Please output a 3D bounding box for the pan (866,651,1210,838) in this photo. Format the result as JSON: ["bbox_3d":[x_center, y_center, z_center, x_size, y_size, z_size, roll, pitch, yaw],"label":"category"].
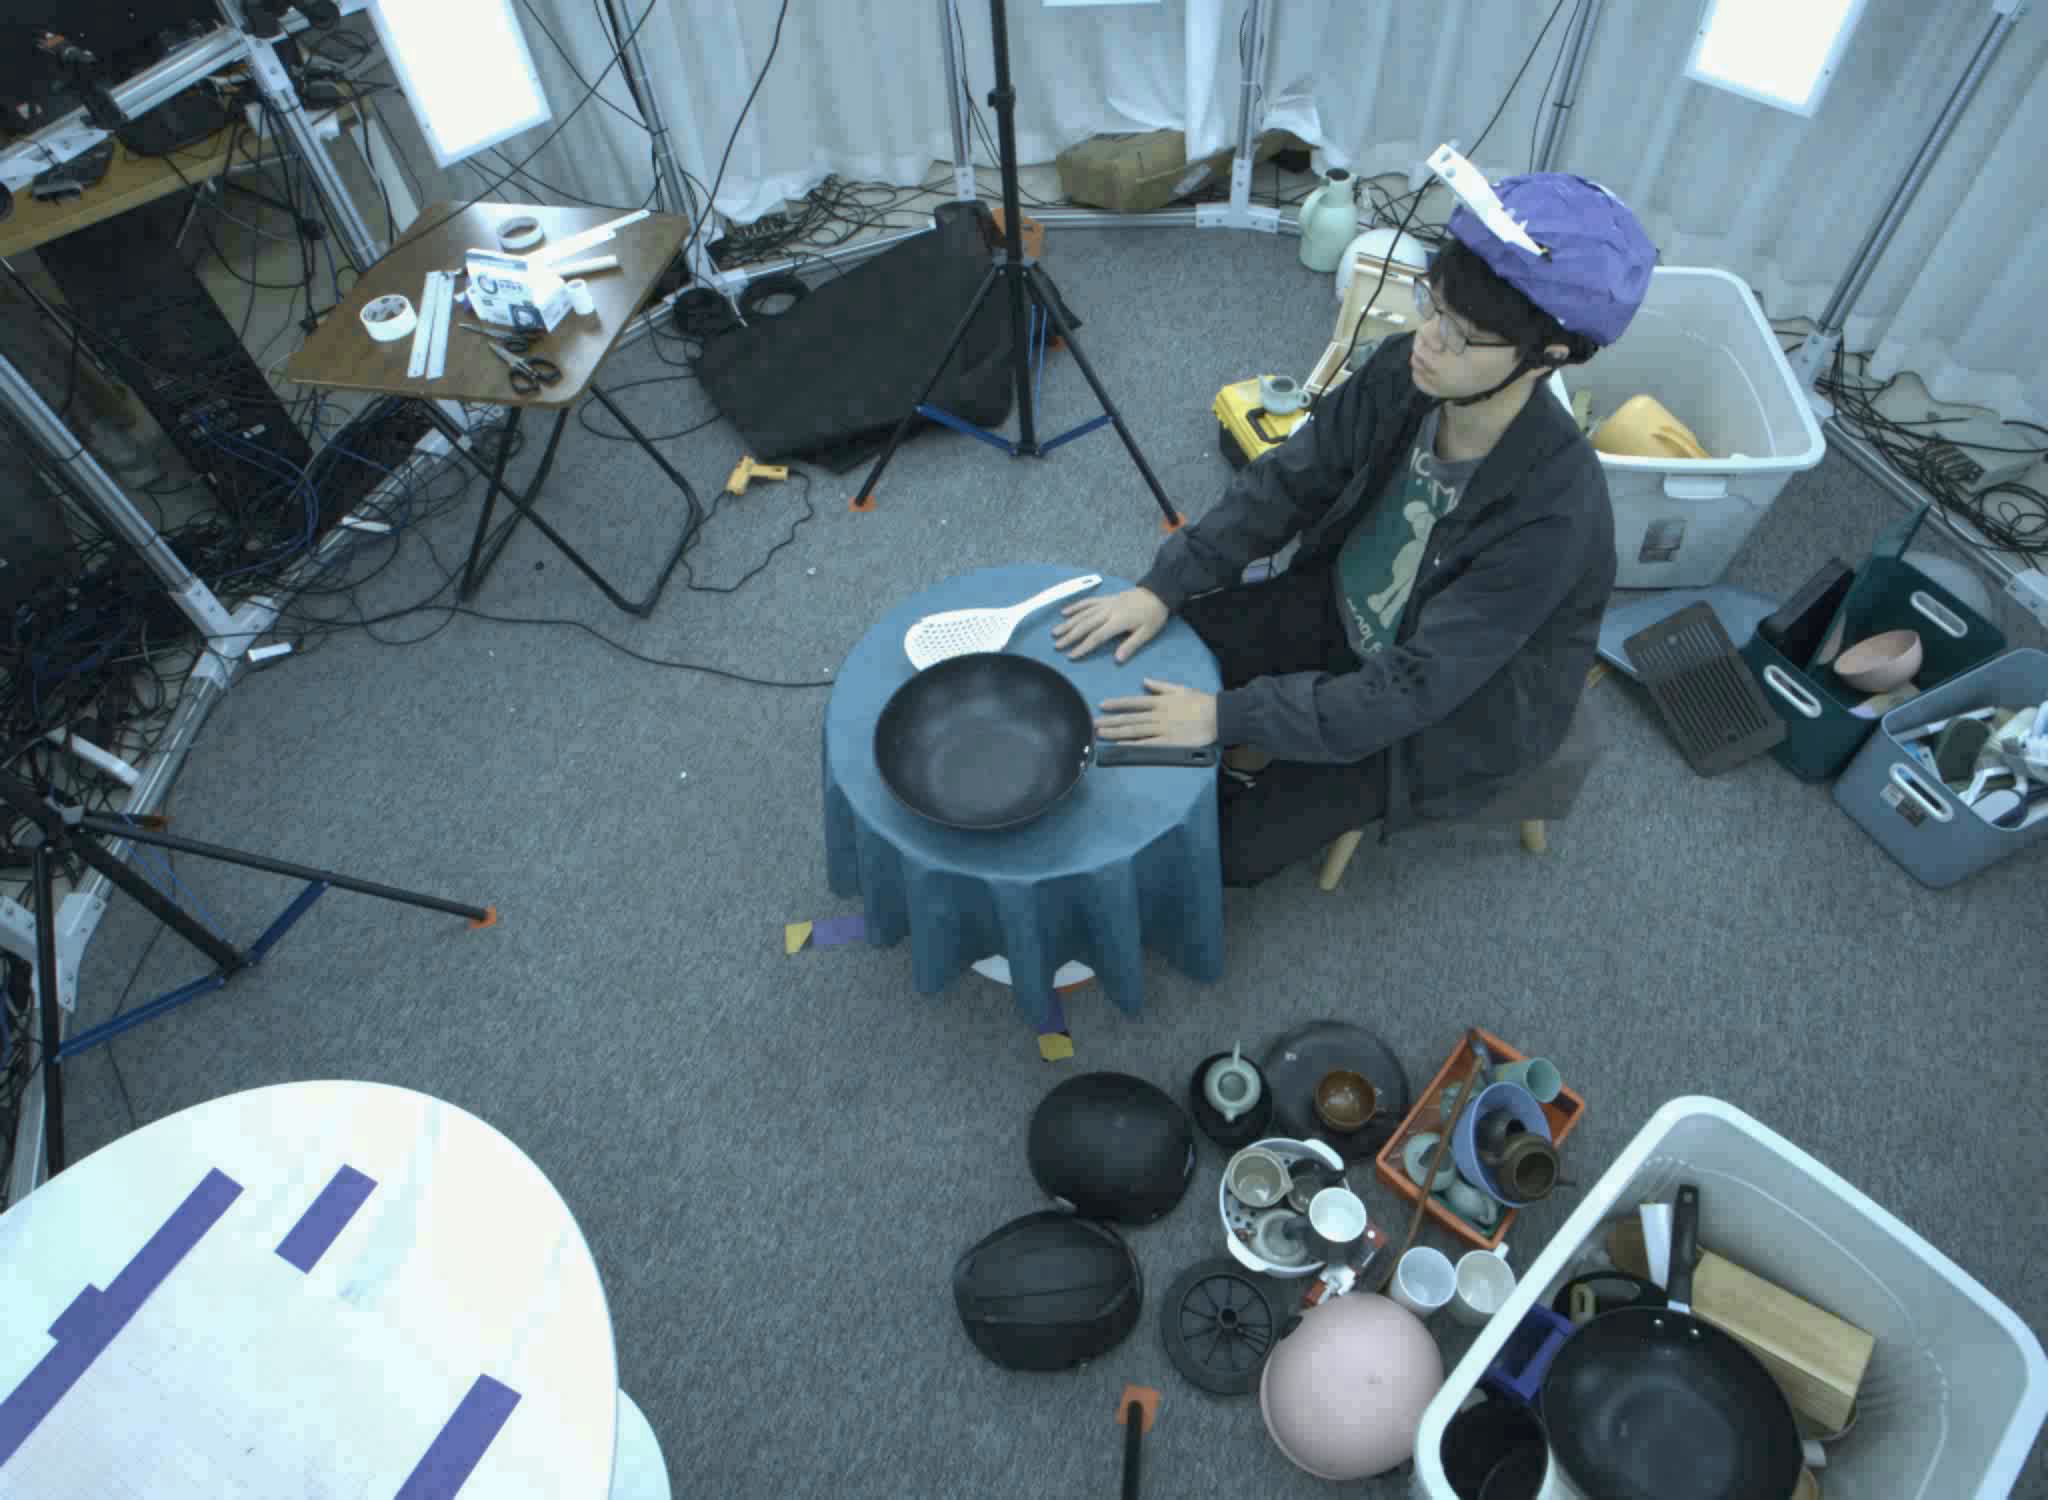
[{"bbox_3d":[0.018,0.010,1.707,0.474,0.113,0.308,8,56,8],"label":"pan"}]

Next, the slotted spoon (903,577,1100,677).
[{"bbox_3d":[-0.022,-0.202,1.899,0.351,0.051,0.134,-30,57,-18],"label":"slotted spoon"}]
